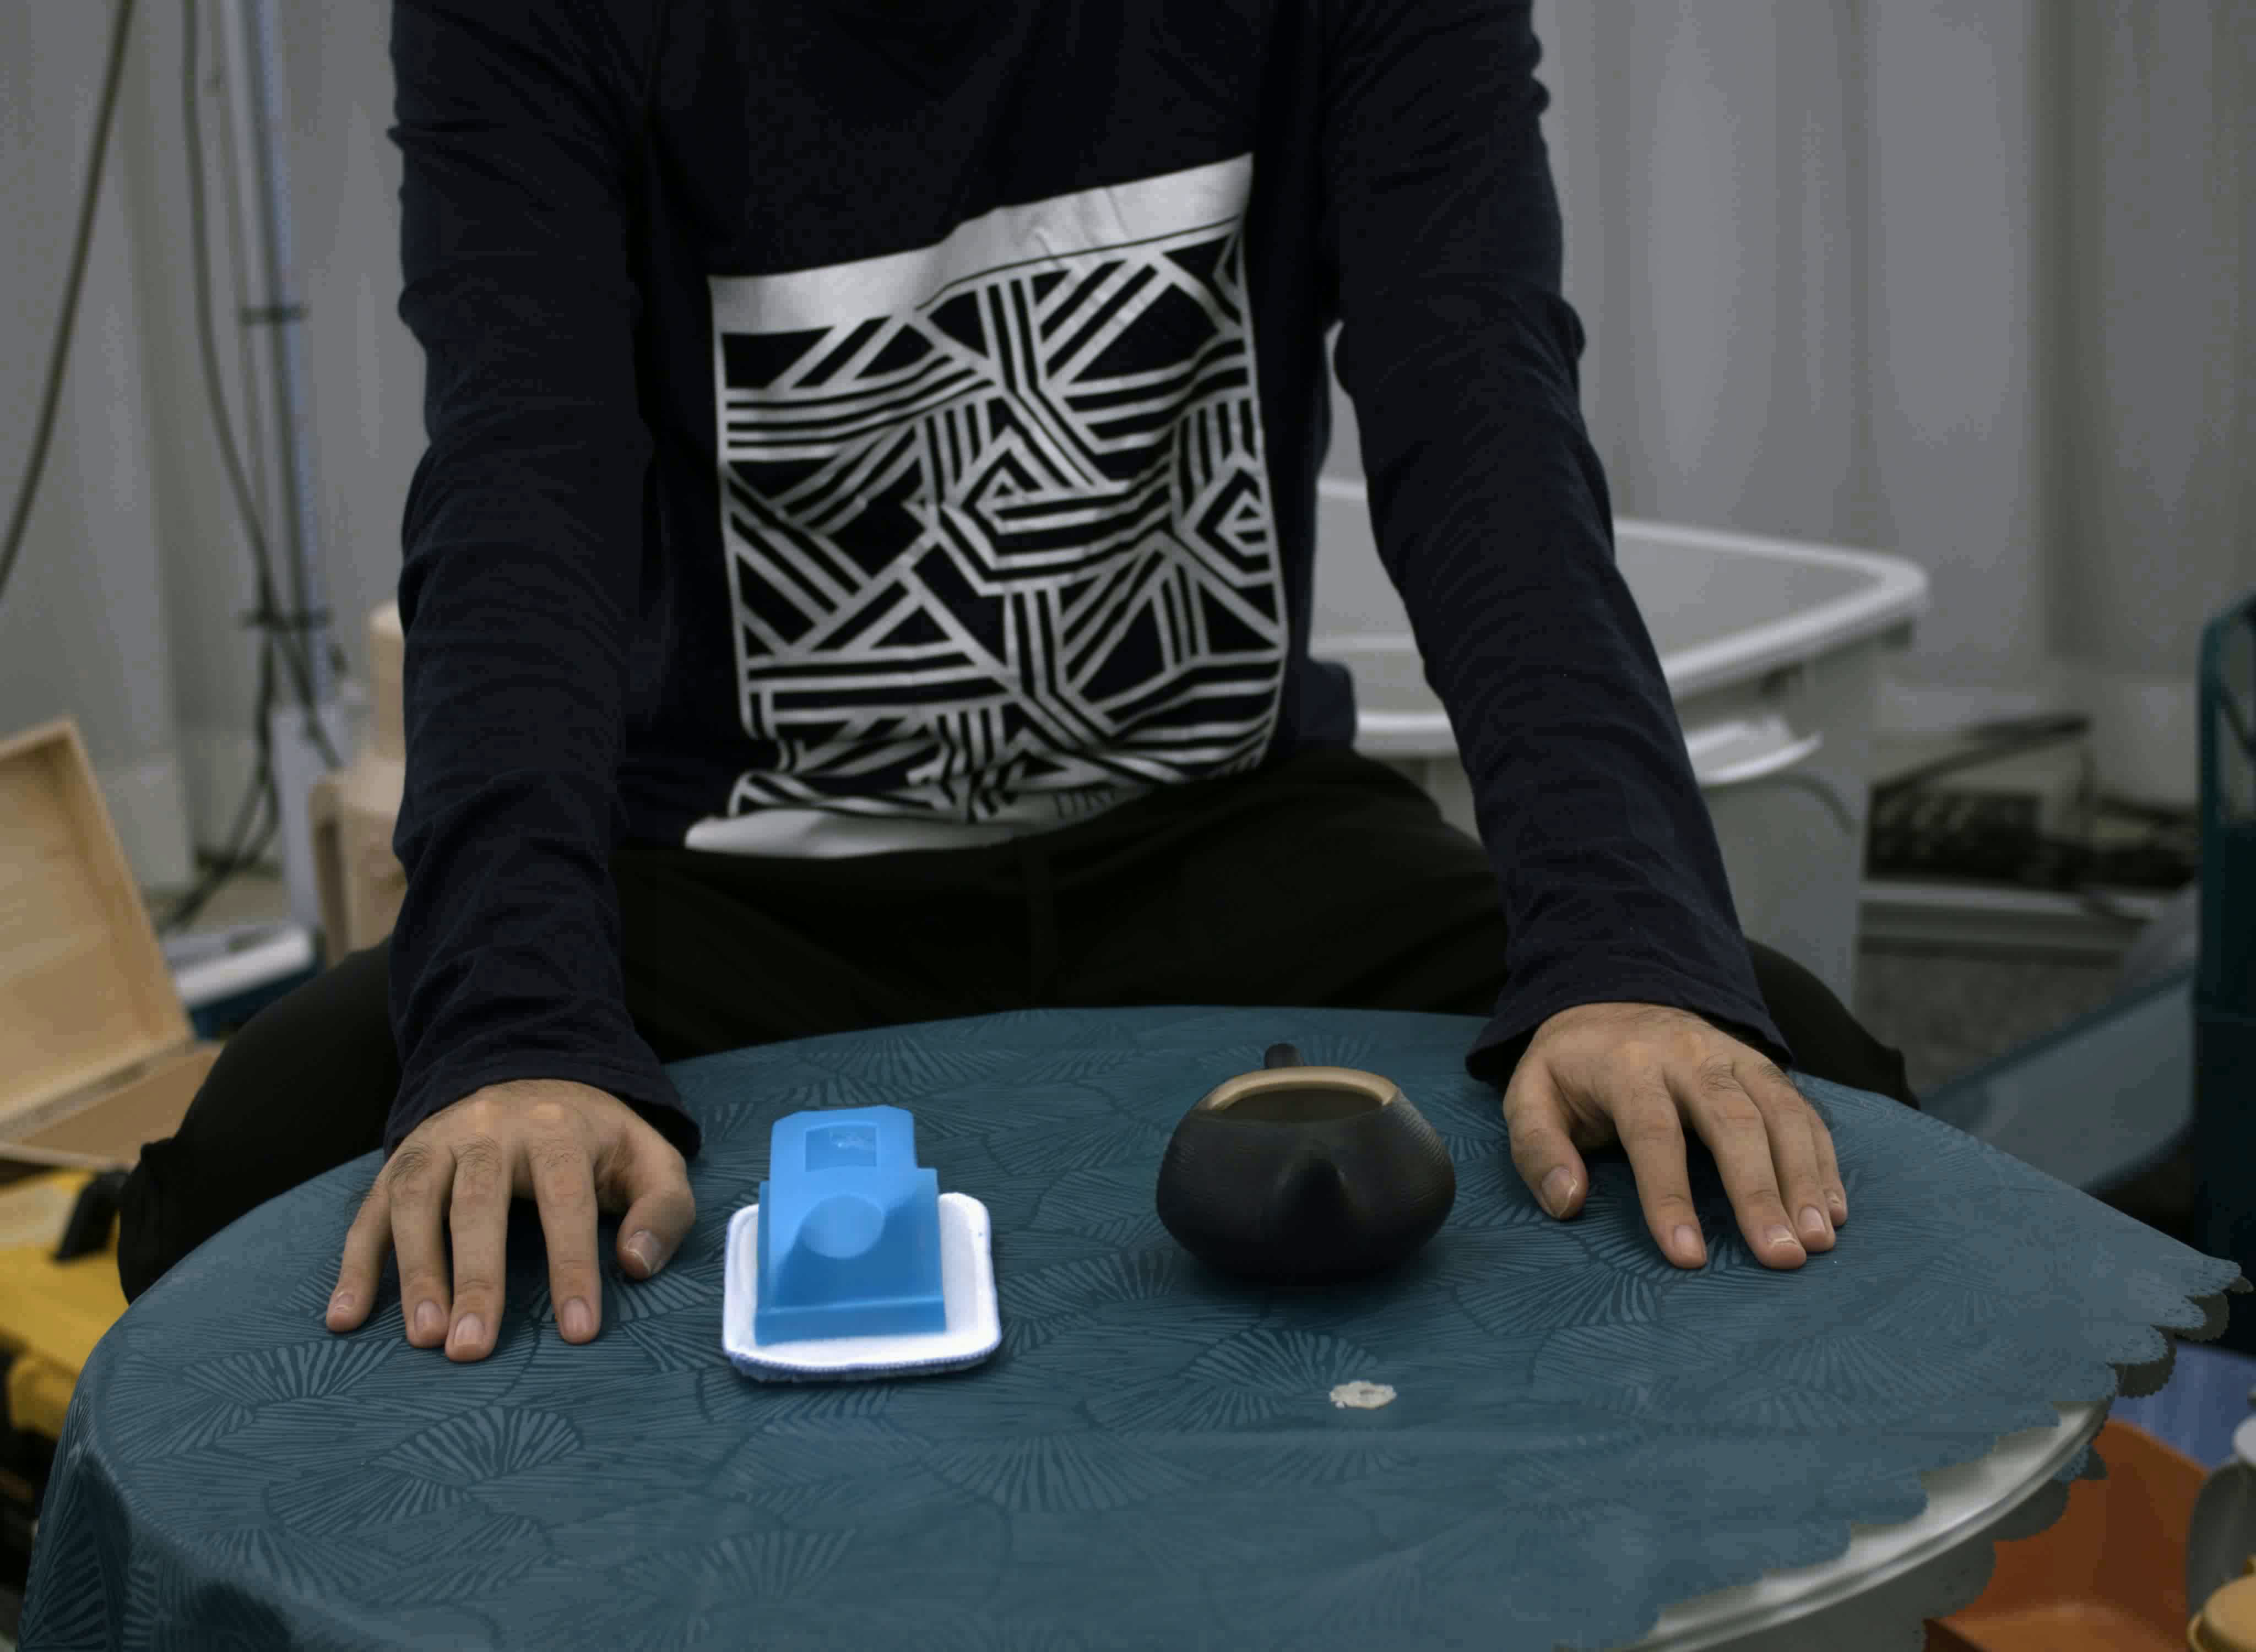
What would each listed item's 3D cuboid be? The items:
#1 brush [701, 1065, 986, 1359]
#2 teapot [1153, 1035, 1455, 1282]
[{"bbox_3d":[-0.084,0.111,1.624,0.083,0.055,0.145,1,18,-1],"label":"brush"},{"bbox_3d":[0.053,0.103,1.640,0.090,0.053,0.134,-3,16,-3],"label":"teapot"}]
